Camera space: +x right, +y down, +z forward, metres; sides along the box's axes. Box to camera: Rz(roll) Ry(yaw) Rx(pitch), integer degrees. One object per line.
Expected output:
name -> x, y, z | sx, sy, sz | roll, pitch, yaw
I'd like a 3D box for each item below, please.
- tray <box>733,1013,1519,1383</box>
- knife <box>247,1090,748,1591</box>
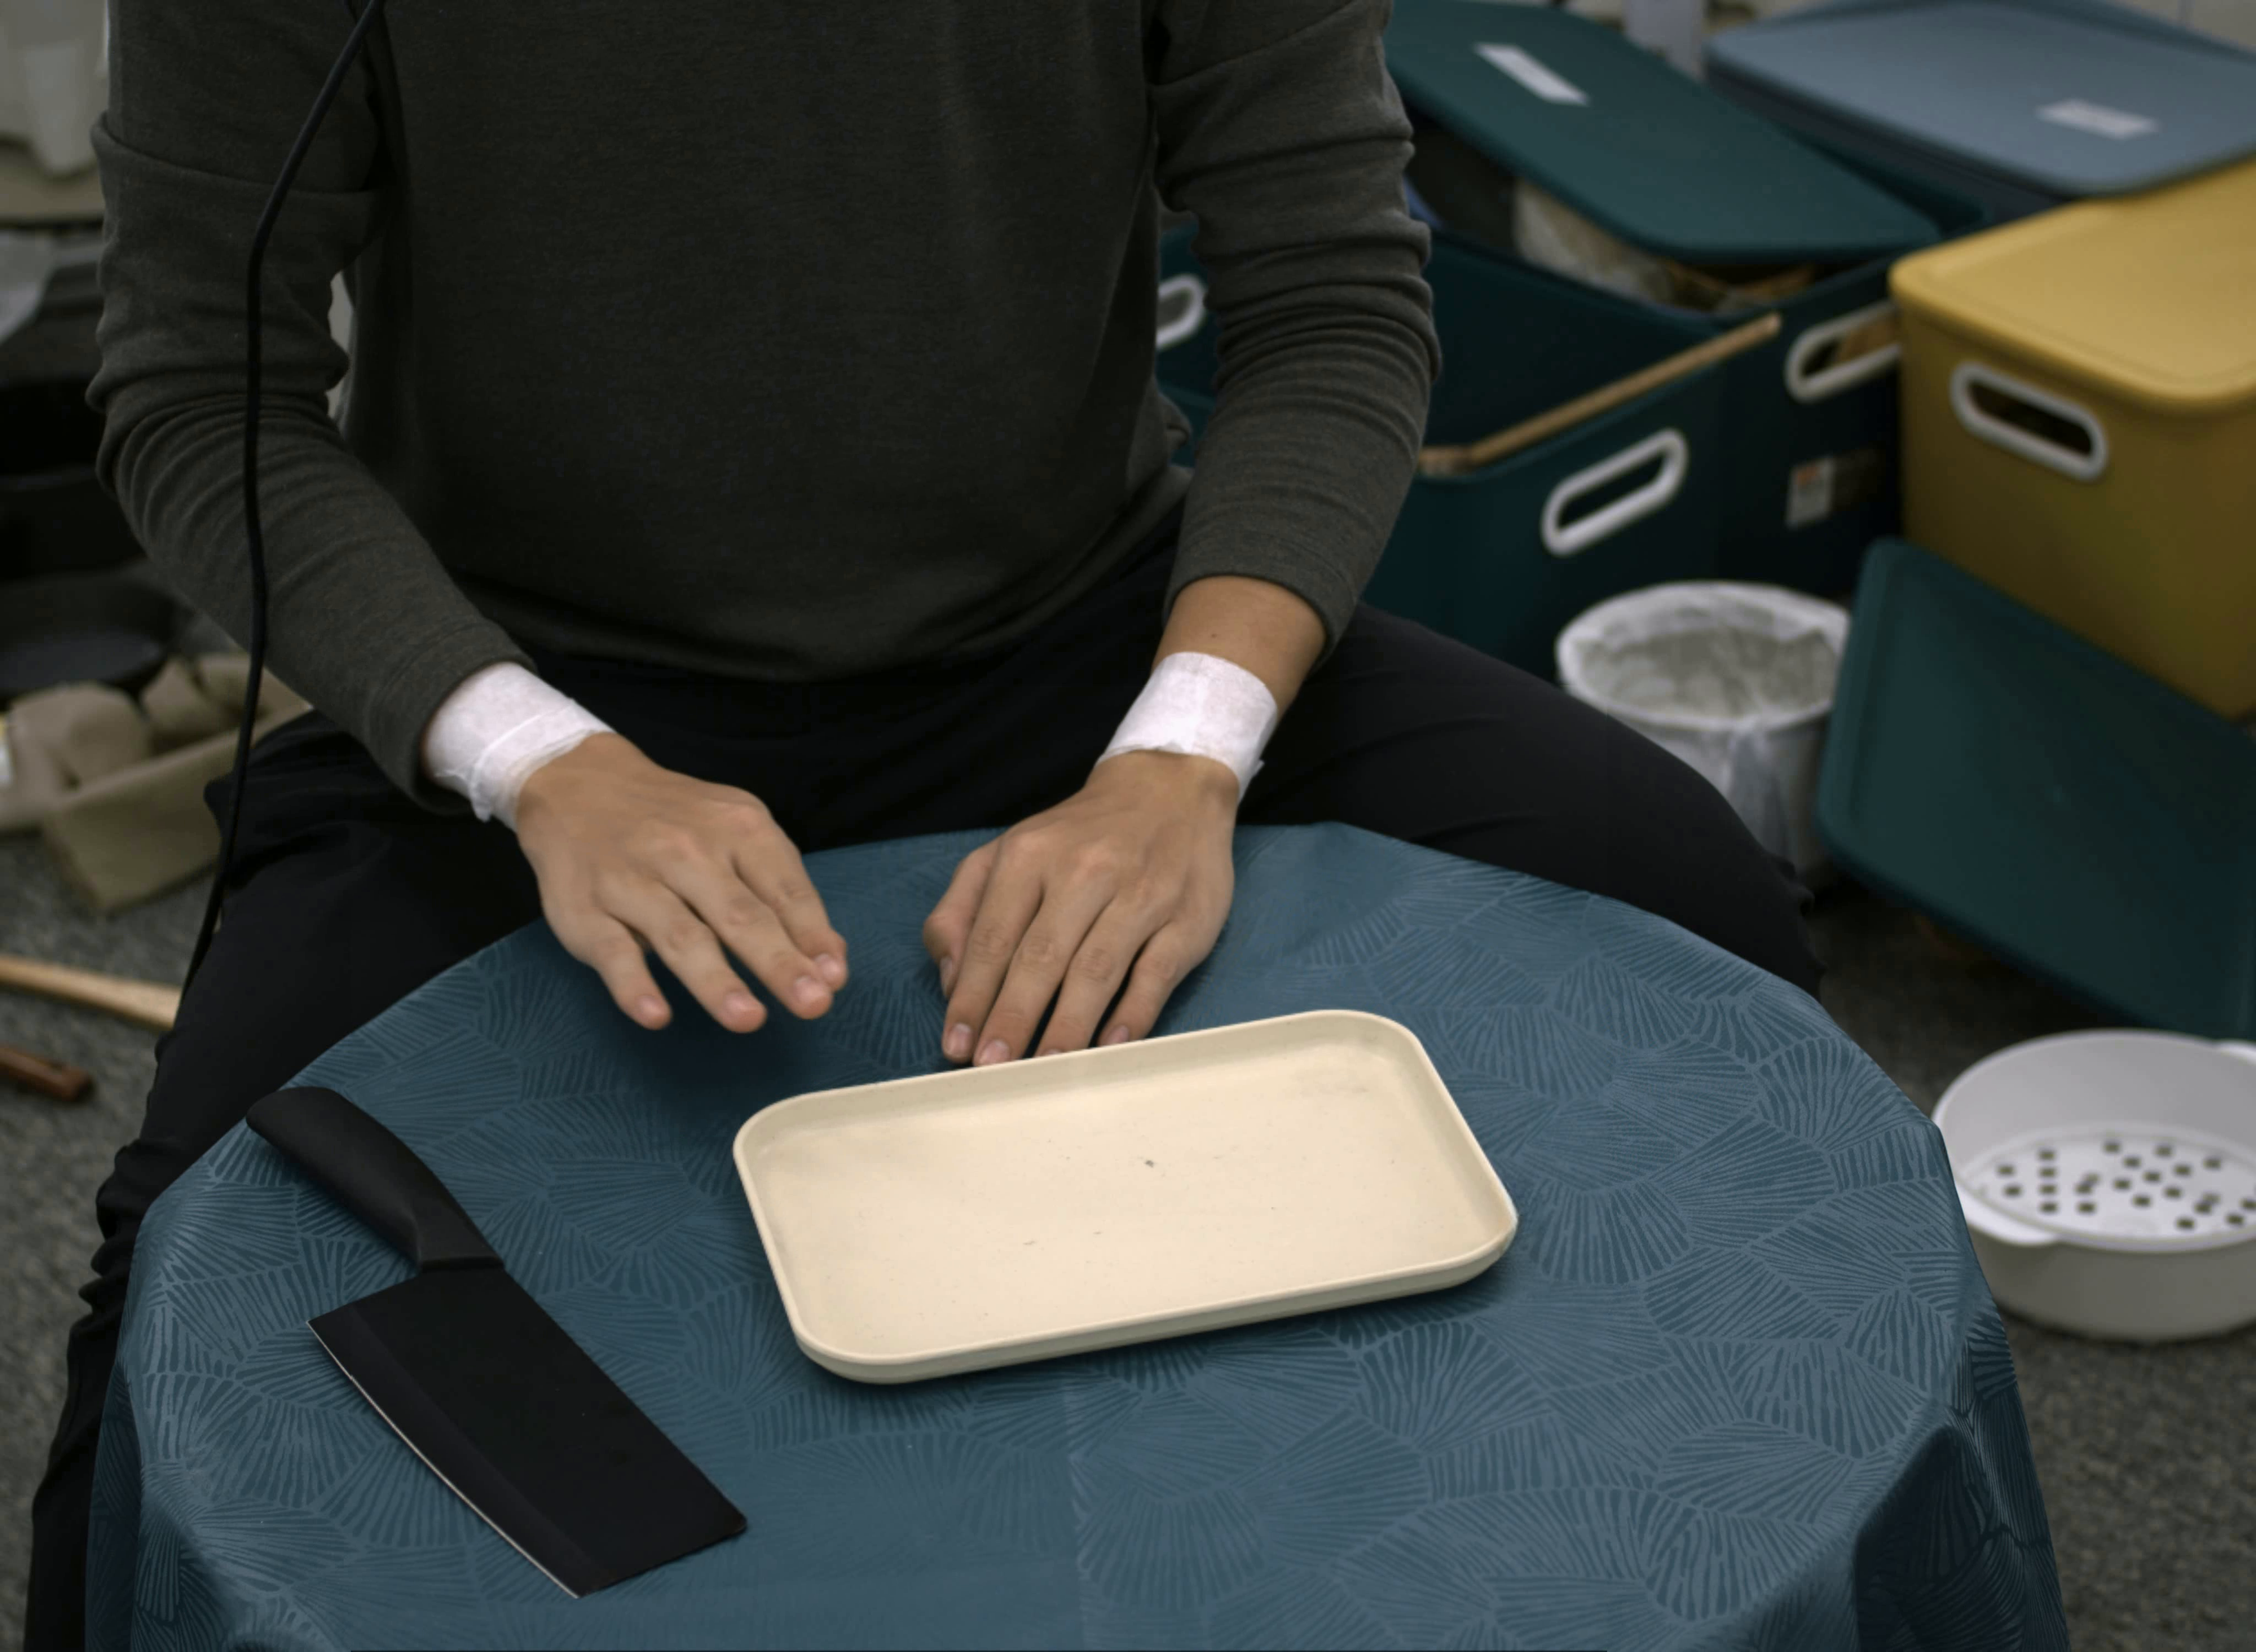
tray -> -0.002, 0.122, 1.842 | 0.239, 0.017, 0.173 | -9, 27, -11
knife -> -0.217, 0.160, 1.792 | 0.081, 0.020, 0.304 | -17, 32, -23
